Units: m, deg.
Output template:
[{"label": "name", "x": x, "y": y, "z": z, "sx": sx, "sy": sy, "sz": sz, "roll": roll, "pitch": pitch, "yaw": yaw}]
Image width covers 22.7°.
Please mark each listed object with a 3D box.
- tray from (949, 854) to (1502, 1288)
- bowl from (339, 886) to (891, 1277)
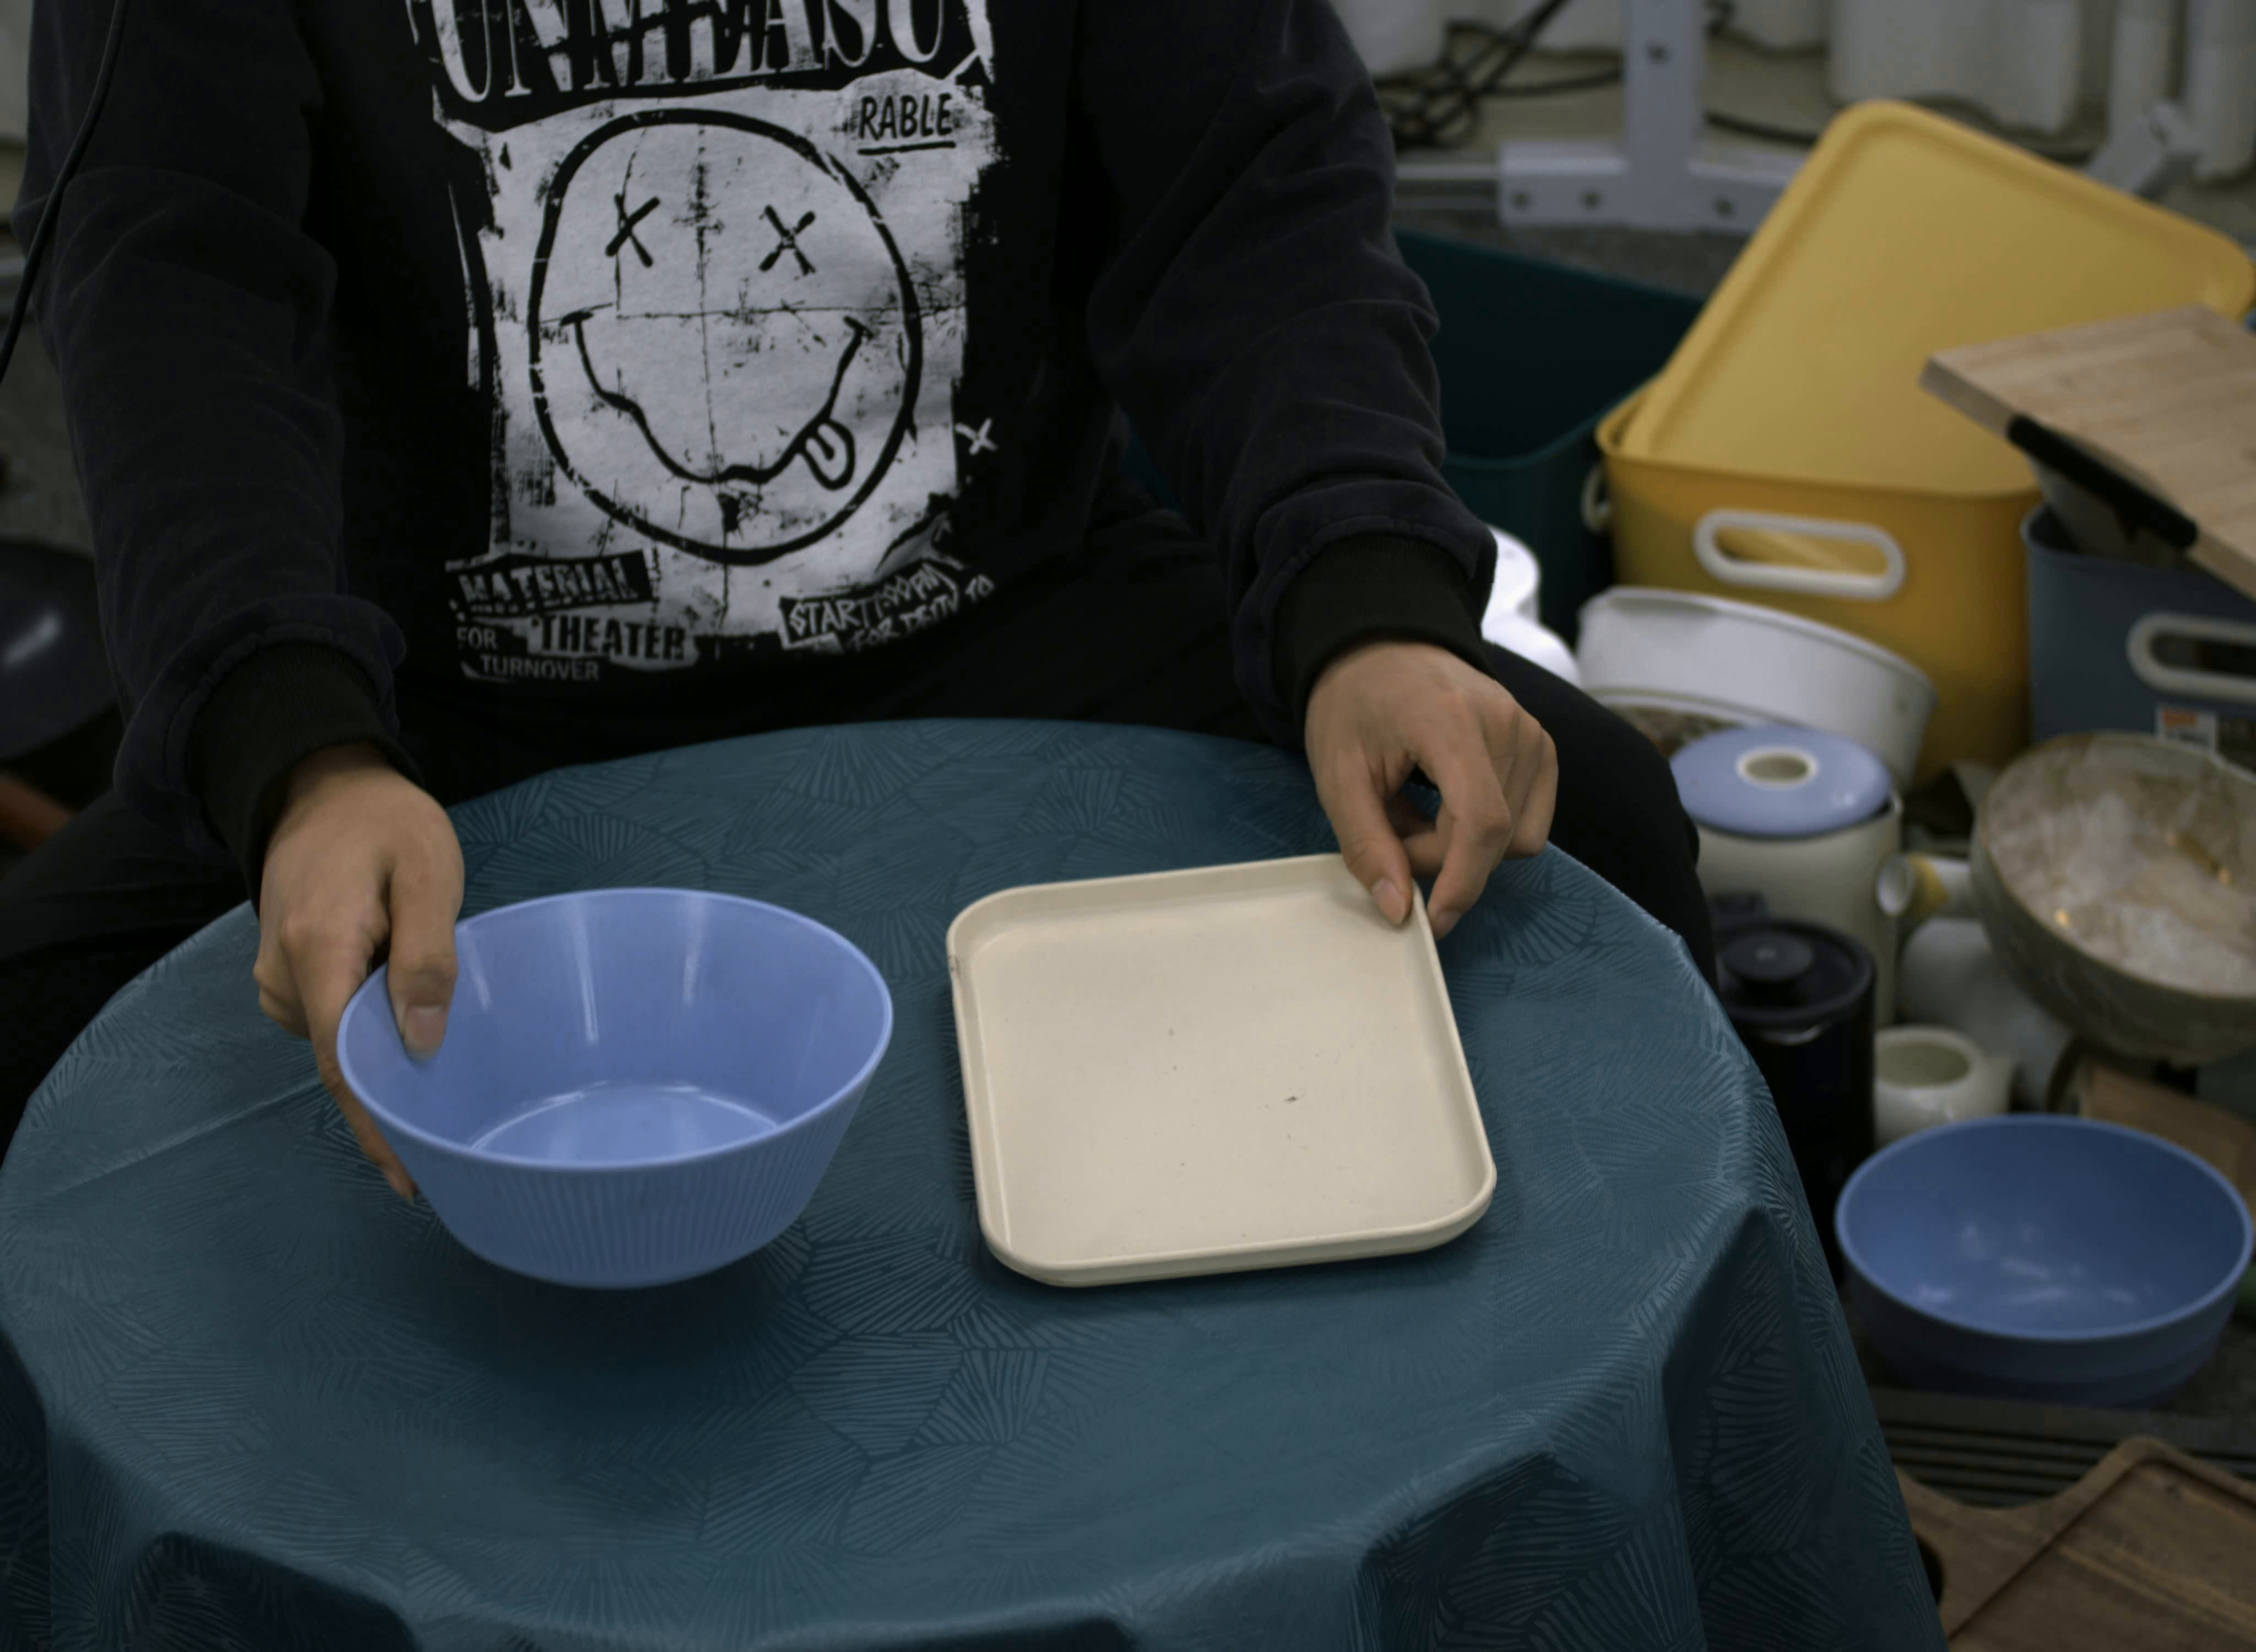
[{"label": "tray", "x": 0.029, "y": 0.082, "z": 1.904, "sx": 0.170, "sy": 0.017, "sz": 0.243, "roll": -5, "pitch": 30, "yaw": -3}, {"label": "bowl", "x": -0.162, "y": 0.088, "z": 1.794, "sx": 0.175, "sy": 0.069, "sz": 0.179, "roll": 0, "pitch": 27, "yaw": 0}]
